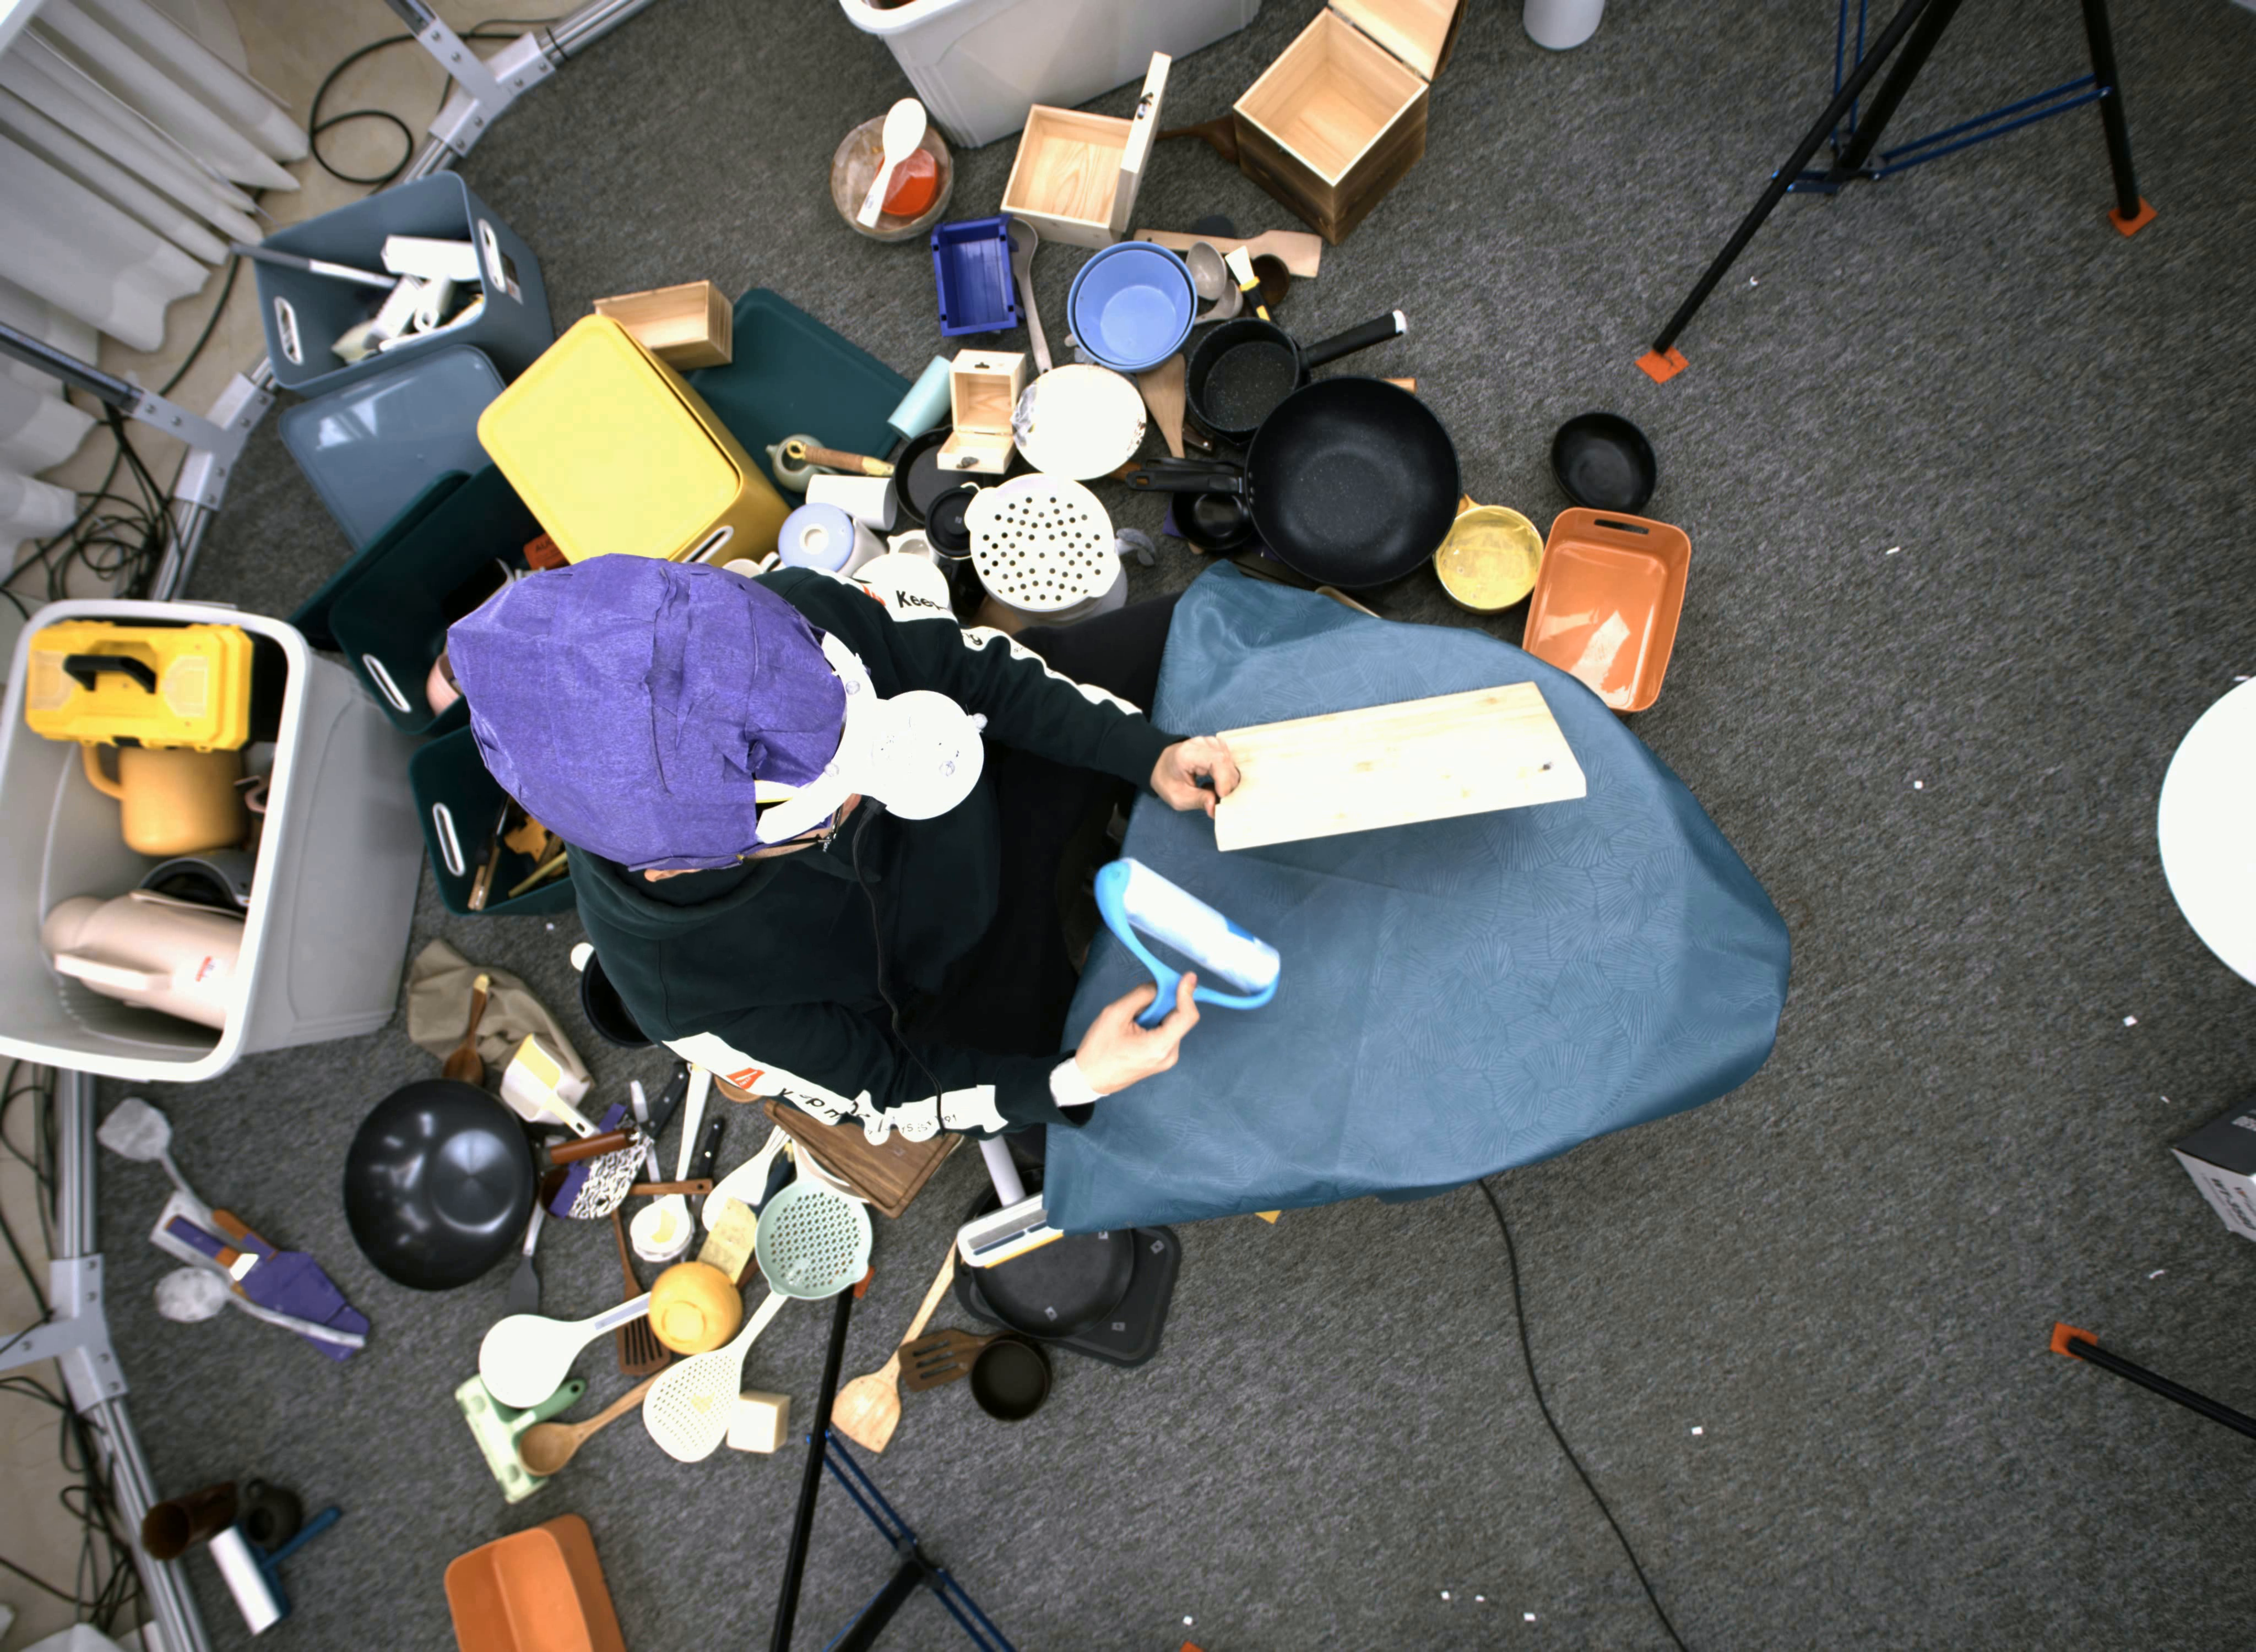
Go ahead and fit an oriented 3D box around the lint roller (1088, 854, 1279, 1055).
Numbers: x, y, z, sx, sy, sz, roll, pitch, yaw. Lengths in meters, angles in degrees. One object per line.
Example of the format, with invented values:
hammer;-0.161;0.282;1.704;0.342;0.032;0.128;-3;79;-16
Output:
lint roller;0.031;0.144;1.322;0.230;0.067;0.180;27;89;-30

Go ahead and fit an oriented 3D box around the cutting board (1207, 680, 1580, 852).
cutting board;0.250;-0.065;1.360;0.350;0.245;0.024;-10;117;9
